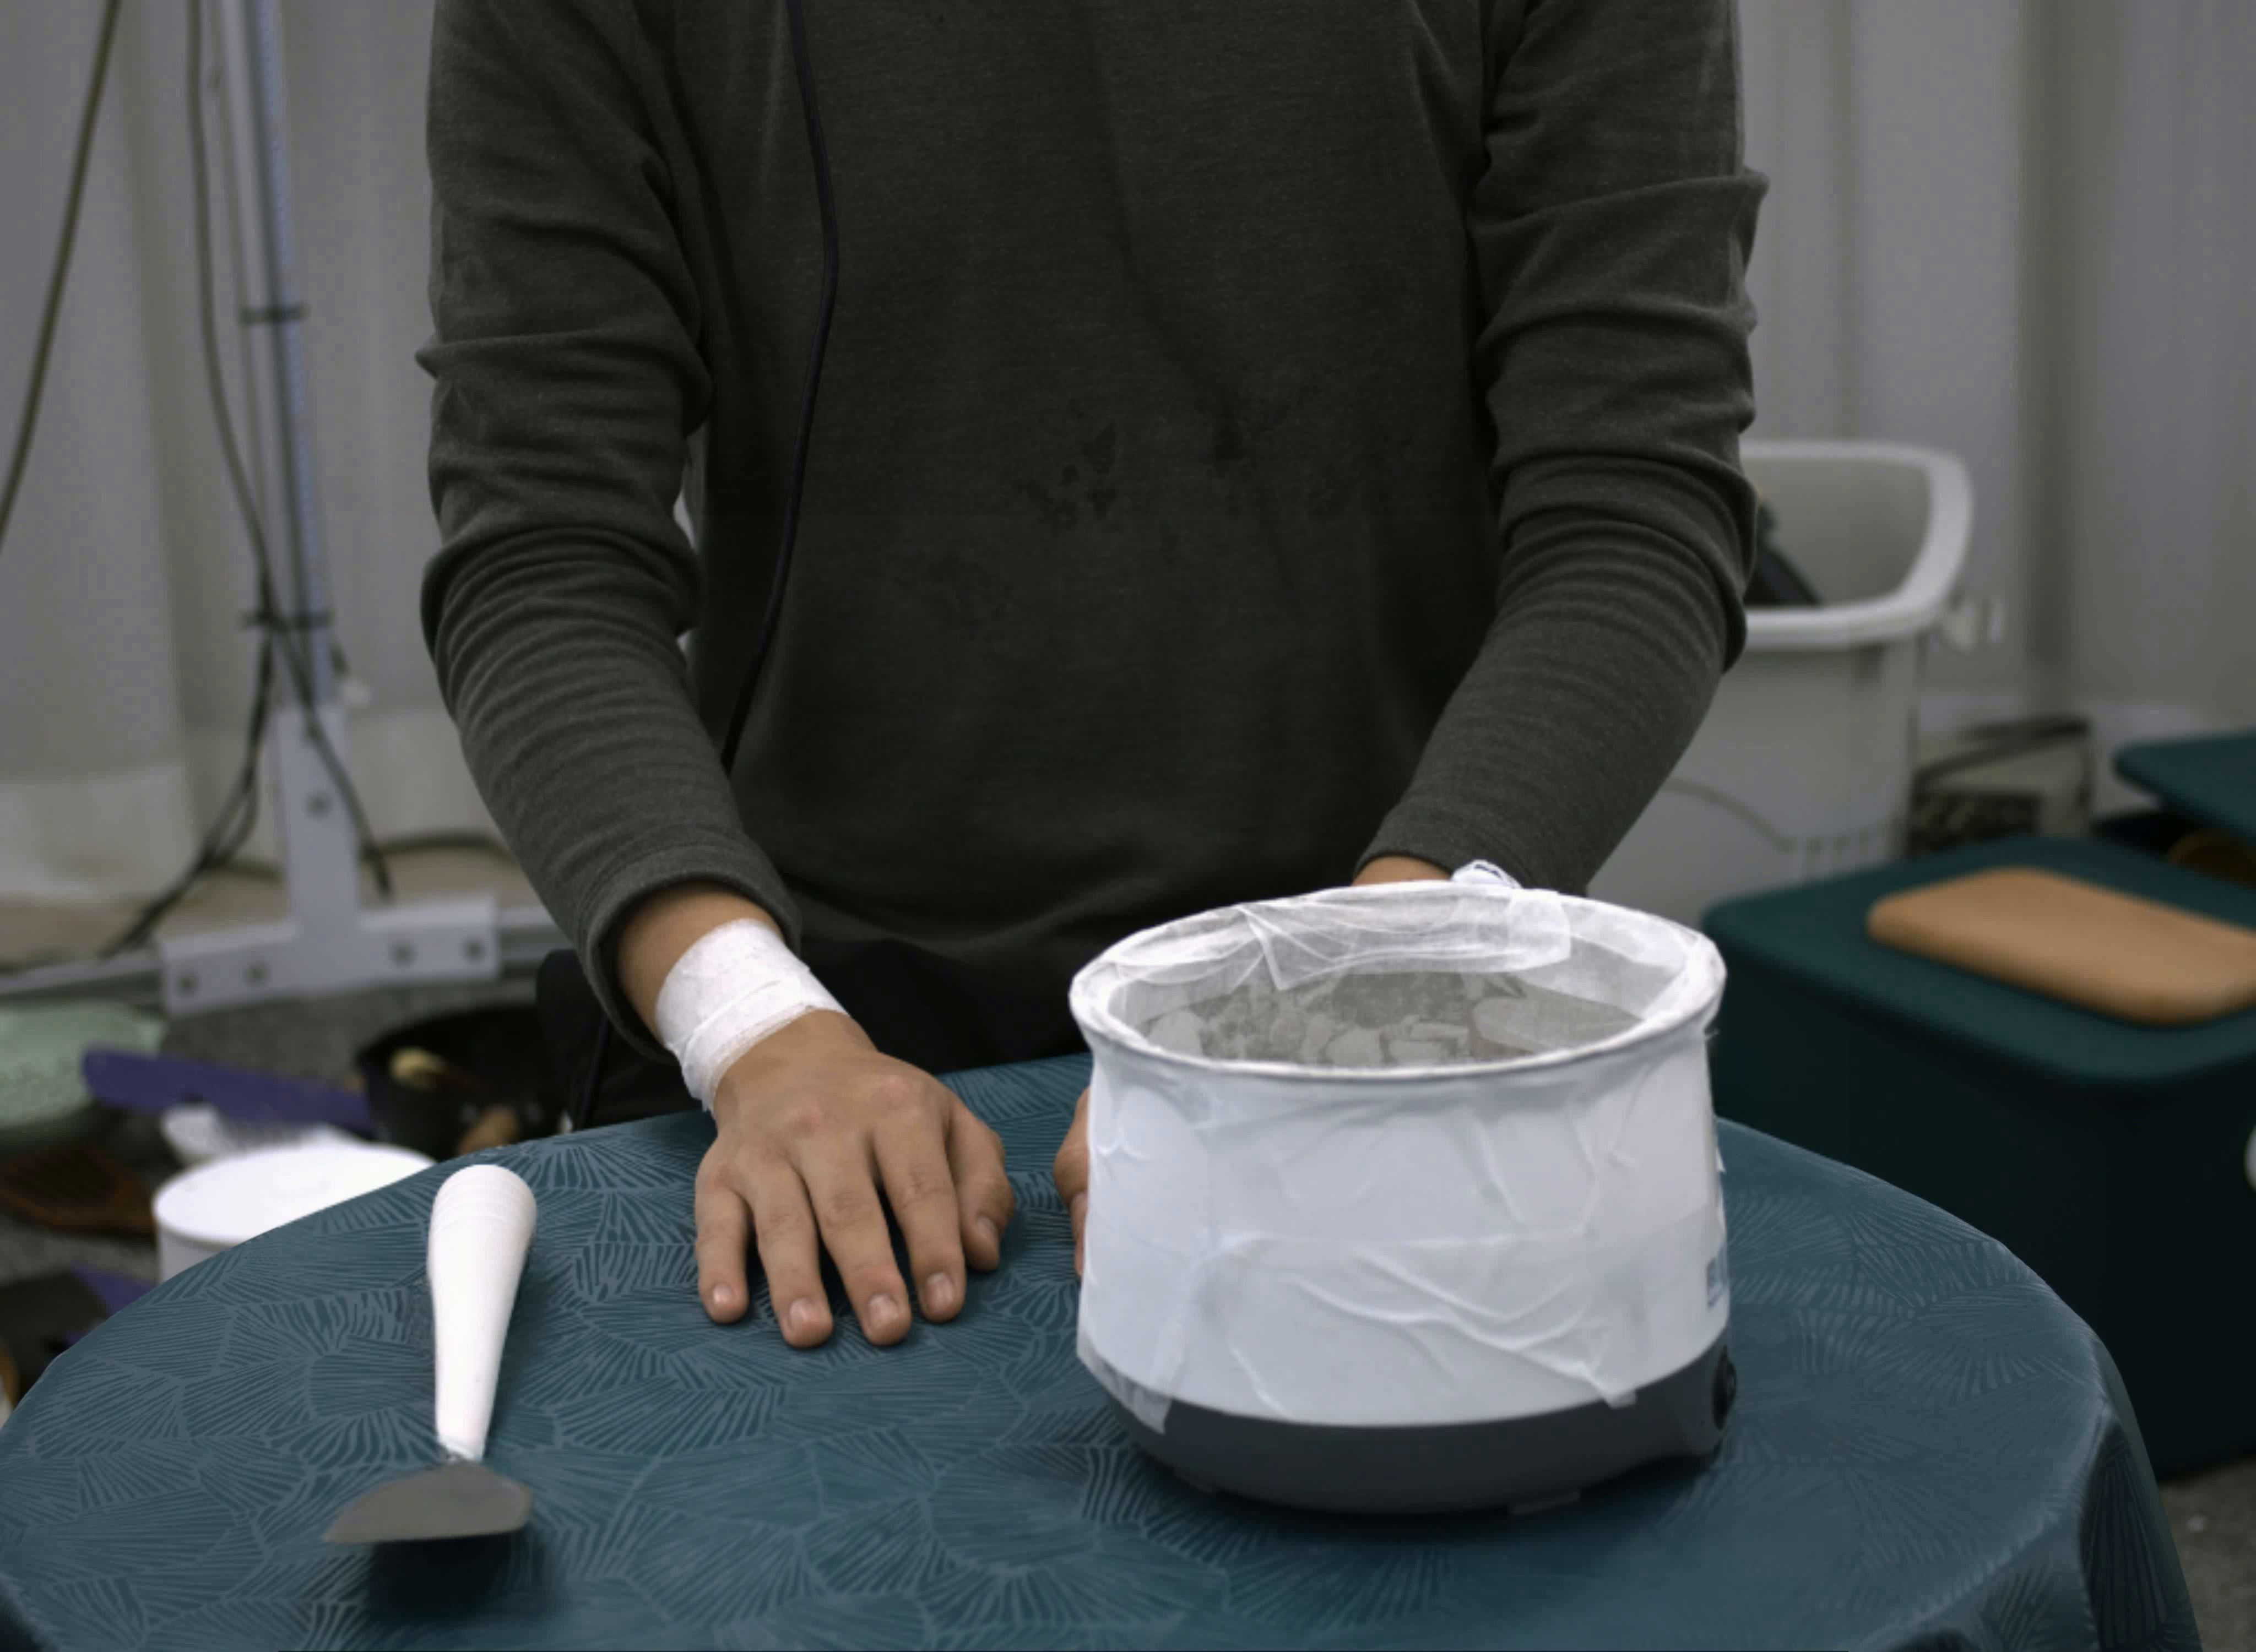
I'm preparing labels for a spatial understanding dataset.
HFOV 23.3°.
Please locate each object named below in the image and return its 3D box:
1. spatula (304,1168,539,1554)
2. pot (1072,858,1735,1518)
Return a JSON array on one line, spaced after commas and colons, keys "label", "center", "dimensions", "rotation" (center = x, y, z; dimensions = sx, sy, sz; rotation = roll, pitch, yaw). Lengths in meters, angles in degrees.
[{"label": "spatula", "center": [-0.189, 0.155, 1.534], "dimensions": [0.058, 0.032, 0.289], "rotation": [-1, 14, -3]}, {"label": "pot", "center": [0.083, 0.094, 1.514], "dimensions": [0.178, 0.136, 0.234], "rotation": [2, 15, 16]}]
